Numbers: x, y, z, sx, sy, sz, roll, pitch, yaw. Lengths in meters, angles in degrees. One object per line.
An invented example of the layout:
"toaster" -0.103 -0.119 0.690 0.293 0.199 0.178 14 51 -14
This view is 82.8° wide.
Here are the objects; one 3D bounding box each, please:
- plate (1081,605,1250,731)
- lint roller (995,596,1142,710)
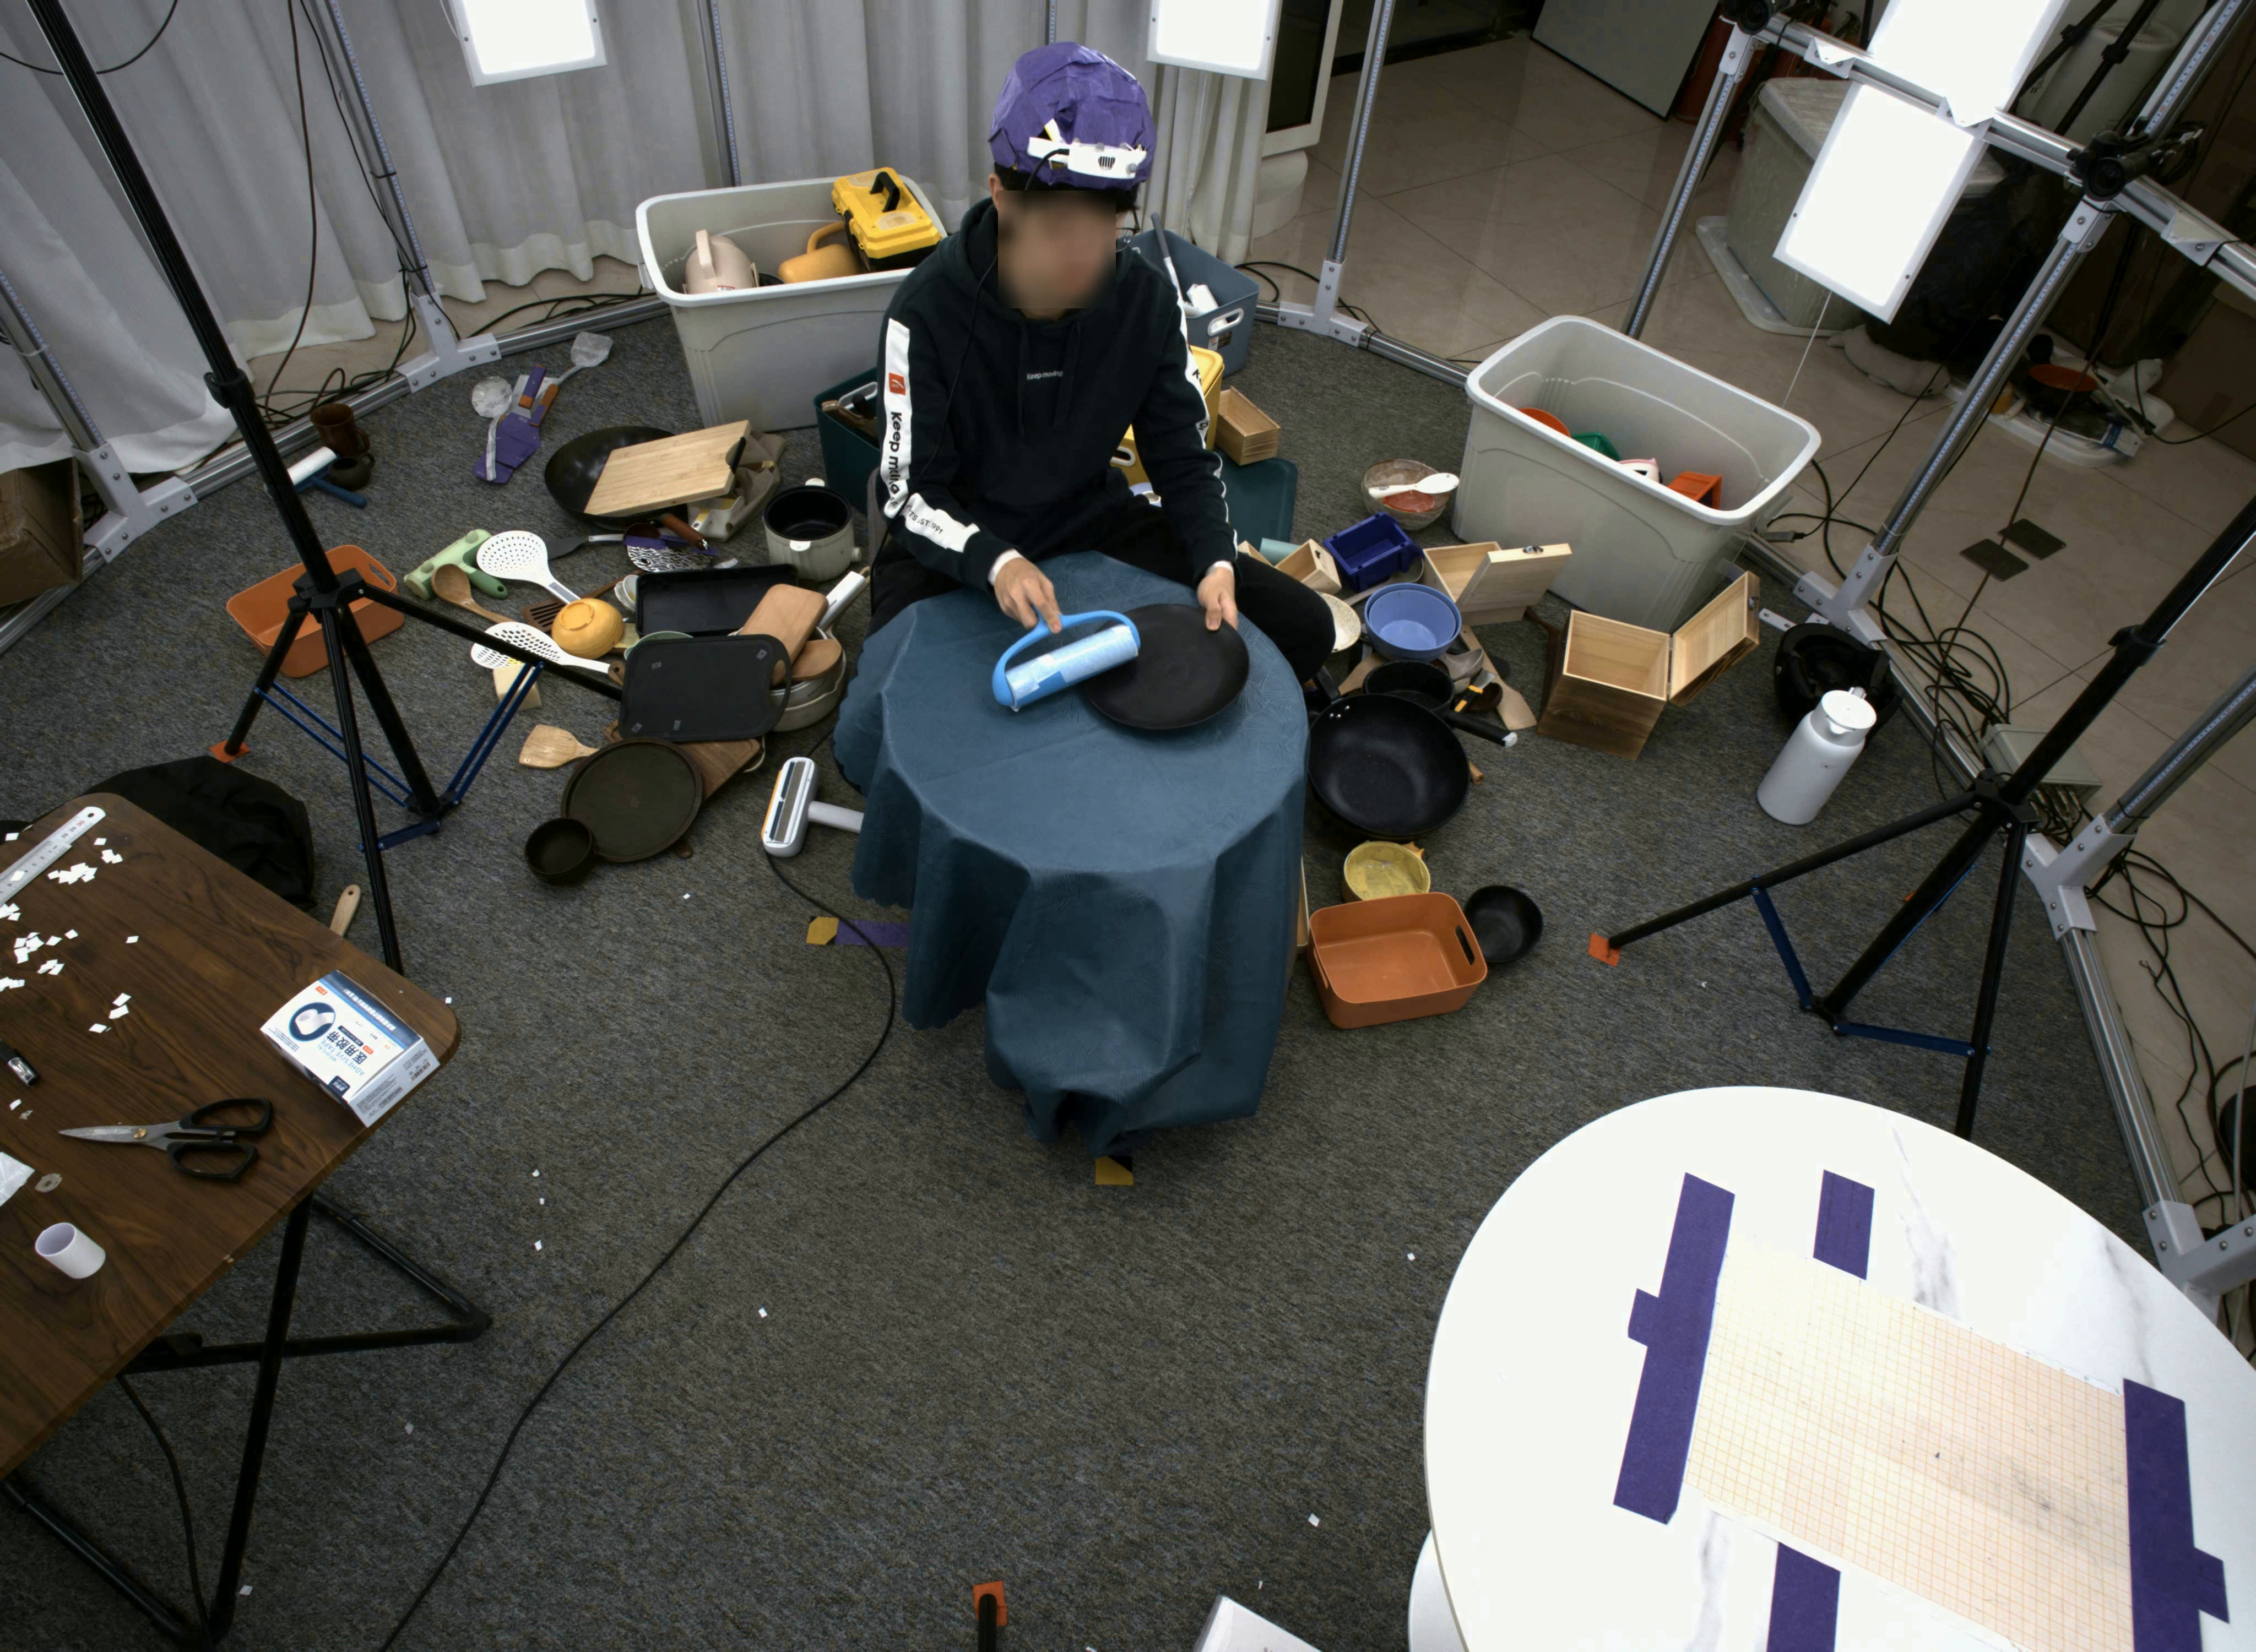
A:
"plate" 0.053 -0.224 1.835 0.244 0.023 0.250 -3 52 3
"lint roller" -0.113 -0.272 1.825 0.230 0.066 0.183 -28 68 -18
